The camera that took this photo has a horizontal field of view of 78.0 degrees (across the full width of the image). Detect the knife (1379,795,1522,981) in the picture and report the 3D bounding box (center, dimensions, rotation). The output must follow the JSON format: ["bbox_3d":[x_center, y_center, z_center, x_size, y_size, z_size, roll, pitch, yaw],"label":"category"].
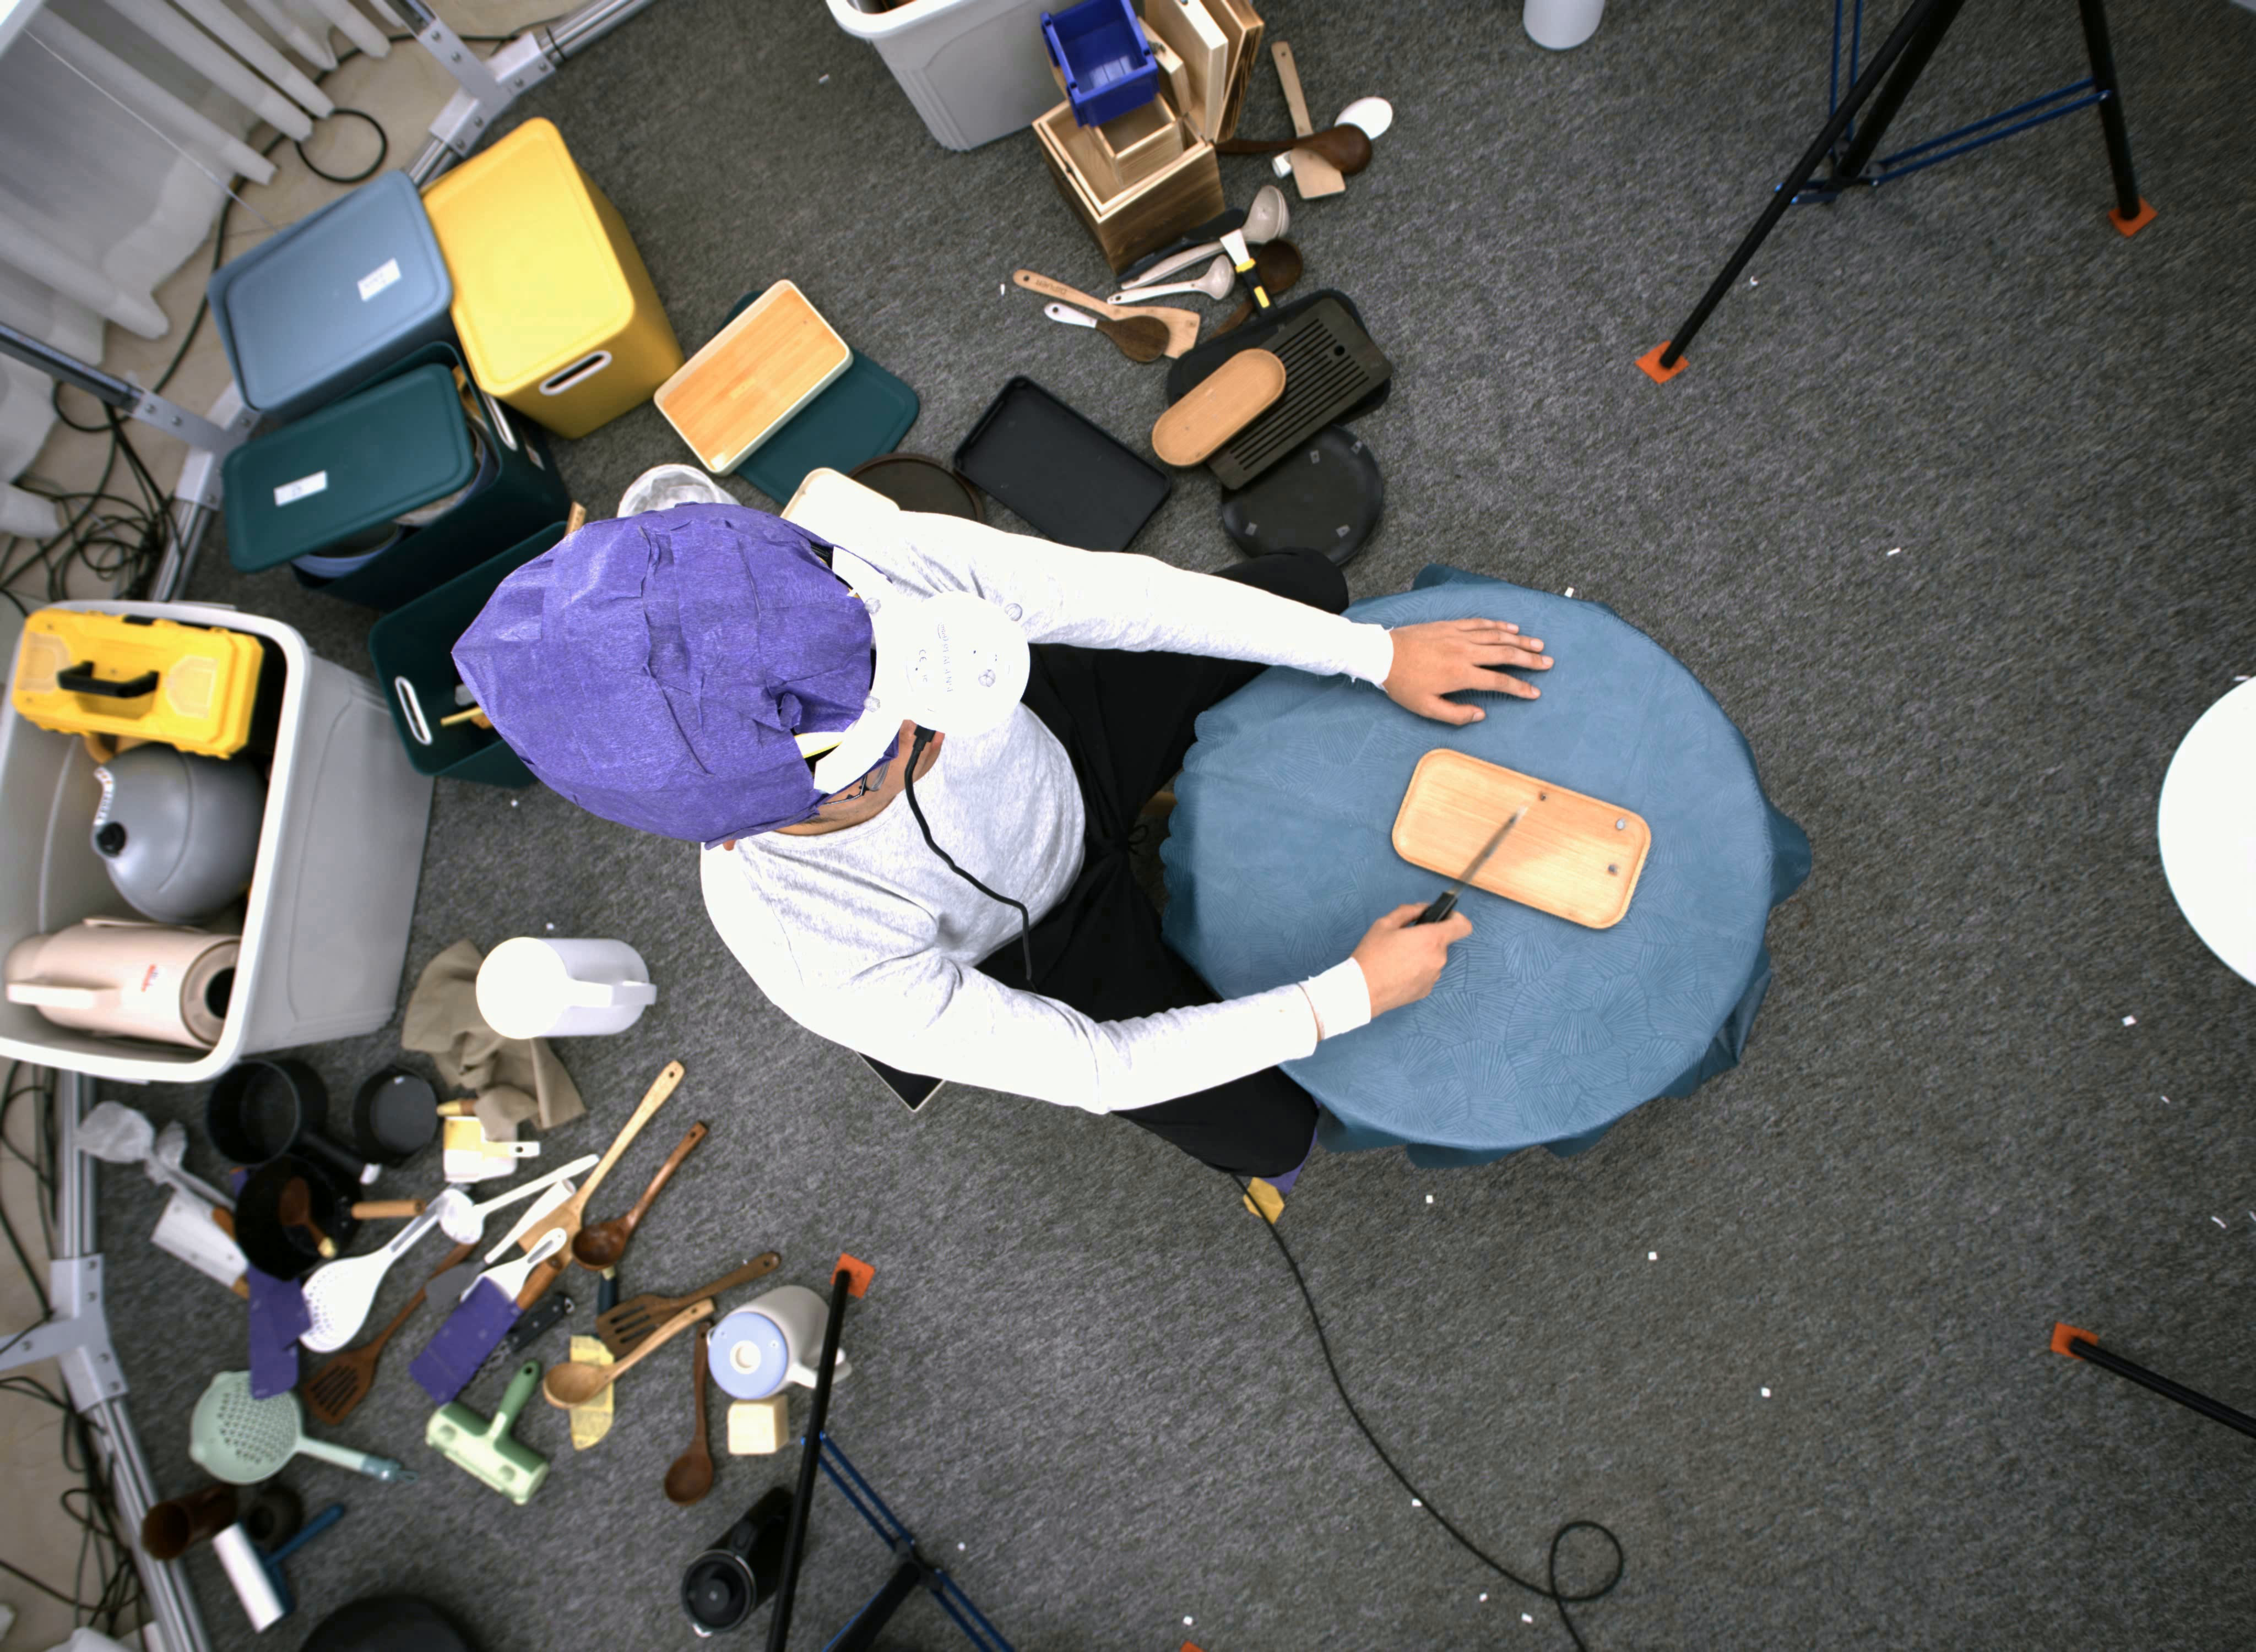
[{"bbox_3d":[0.331,0.060,1.394,0.016,0.024,0.237,39,88,-20],"label":"knife"}]

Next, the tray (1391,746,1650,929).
[{"bbox_3d":[0.406,0.009,1.430,0.250,0.023,0.130,21,88,12],"label":"tray"}]
